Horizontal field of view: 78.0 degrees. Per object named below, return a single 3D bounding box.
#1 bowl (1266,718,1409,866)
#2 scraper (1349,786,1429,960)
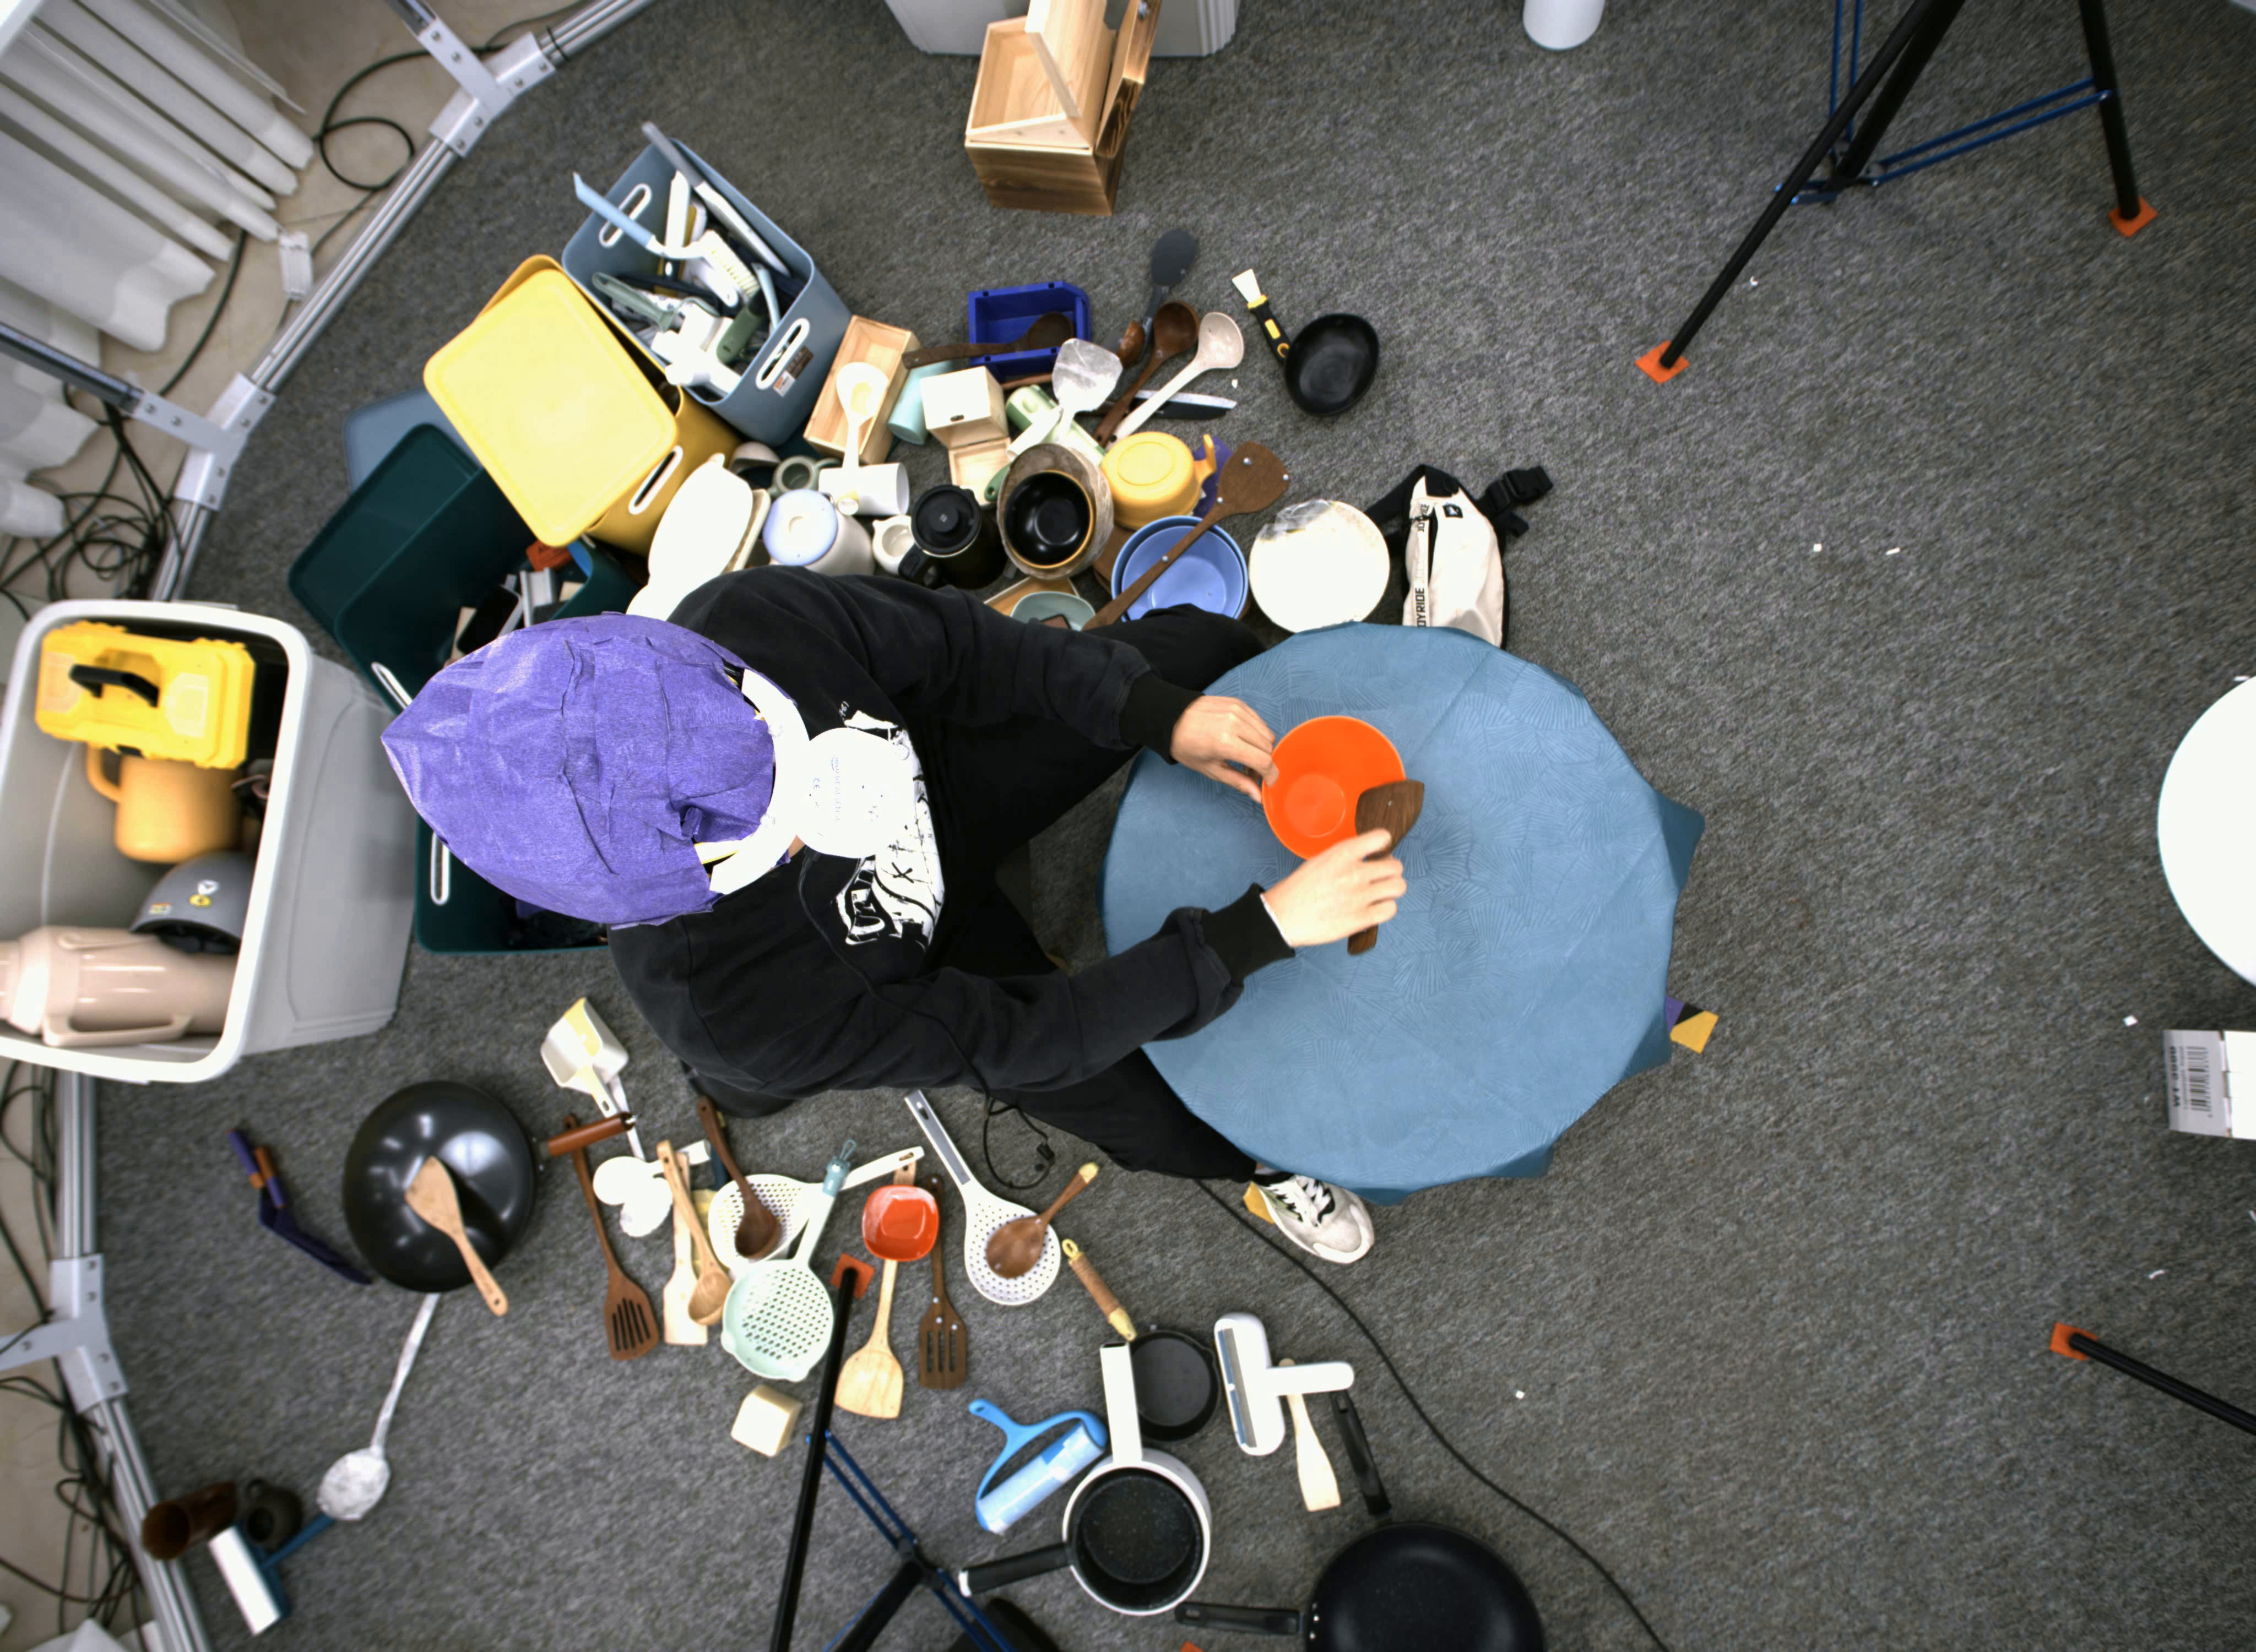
[{"bbox_3d":[0.207,-0.032,1.425,0.148,0.105,0.148,0,89,-5],"label":"bowl"},{"bbox_3d":[0.241,0.042,1.322,0.077,0.011,0.206,-10,44,35],"label":"scraper"}]
